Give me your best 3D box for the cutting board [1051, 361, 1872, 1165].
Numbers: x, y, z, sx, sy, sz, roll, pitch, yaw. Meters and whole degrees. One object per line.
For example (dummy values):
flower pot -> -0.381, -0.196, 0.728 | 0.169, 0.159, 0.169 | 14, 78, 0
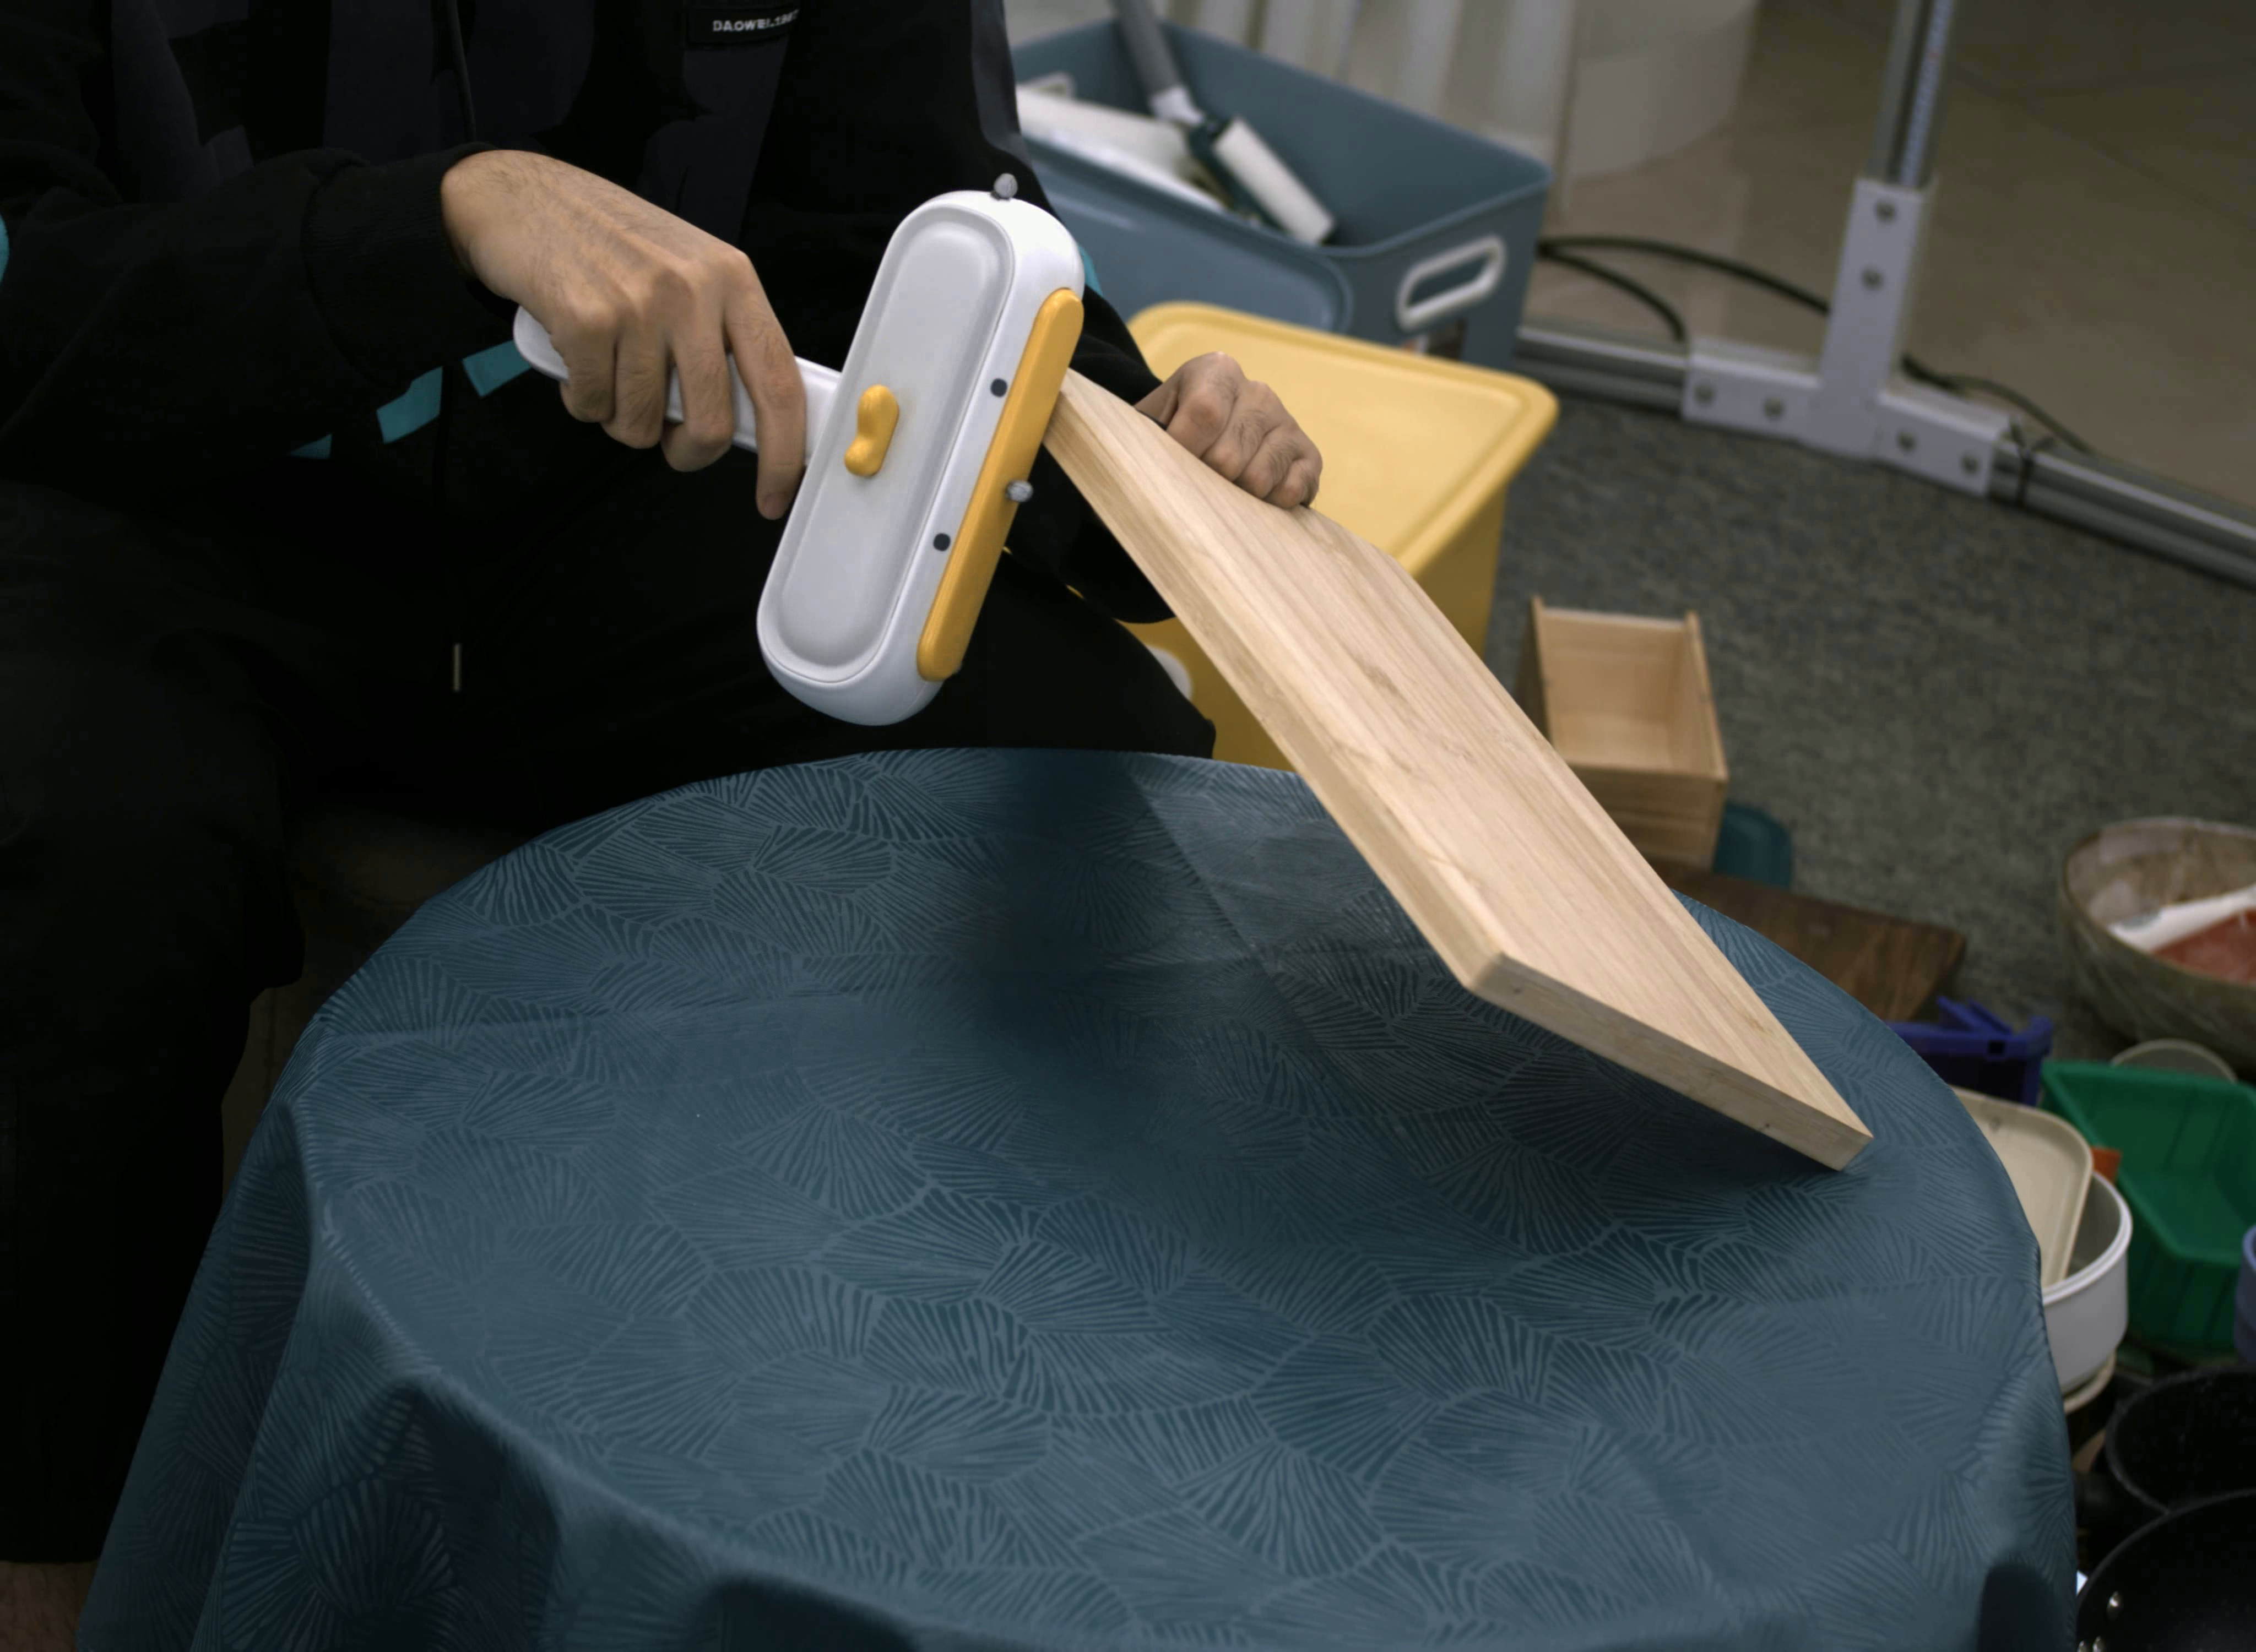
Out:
cutting board -> 0.103, -0.028, 1.884 | 0.248, 0.023, 0.352 | 27, 20, -48

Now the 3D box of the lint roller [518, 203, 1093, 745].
lint roller -> -0.119, -0.133, 1.874 | 0.193, 0.193, 0.074 | 9, -6, 20
